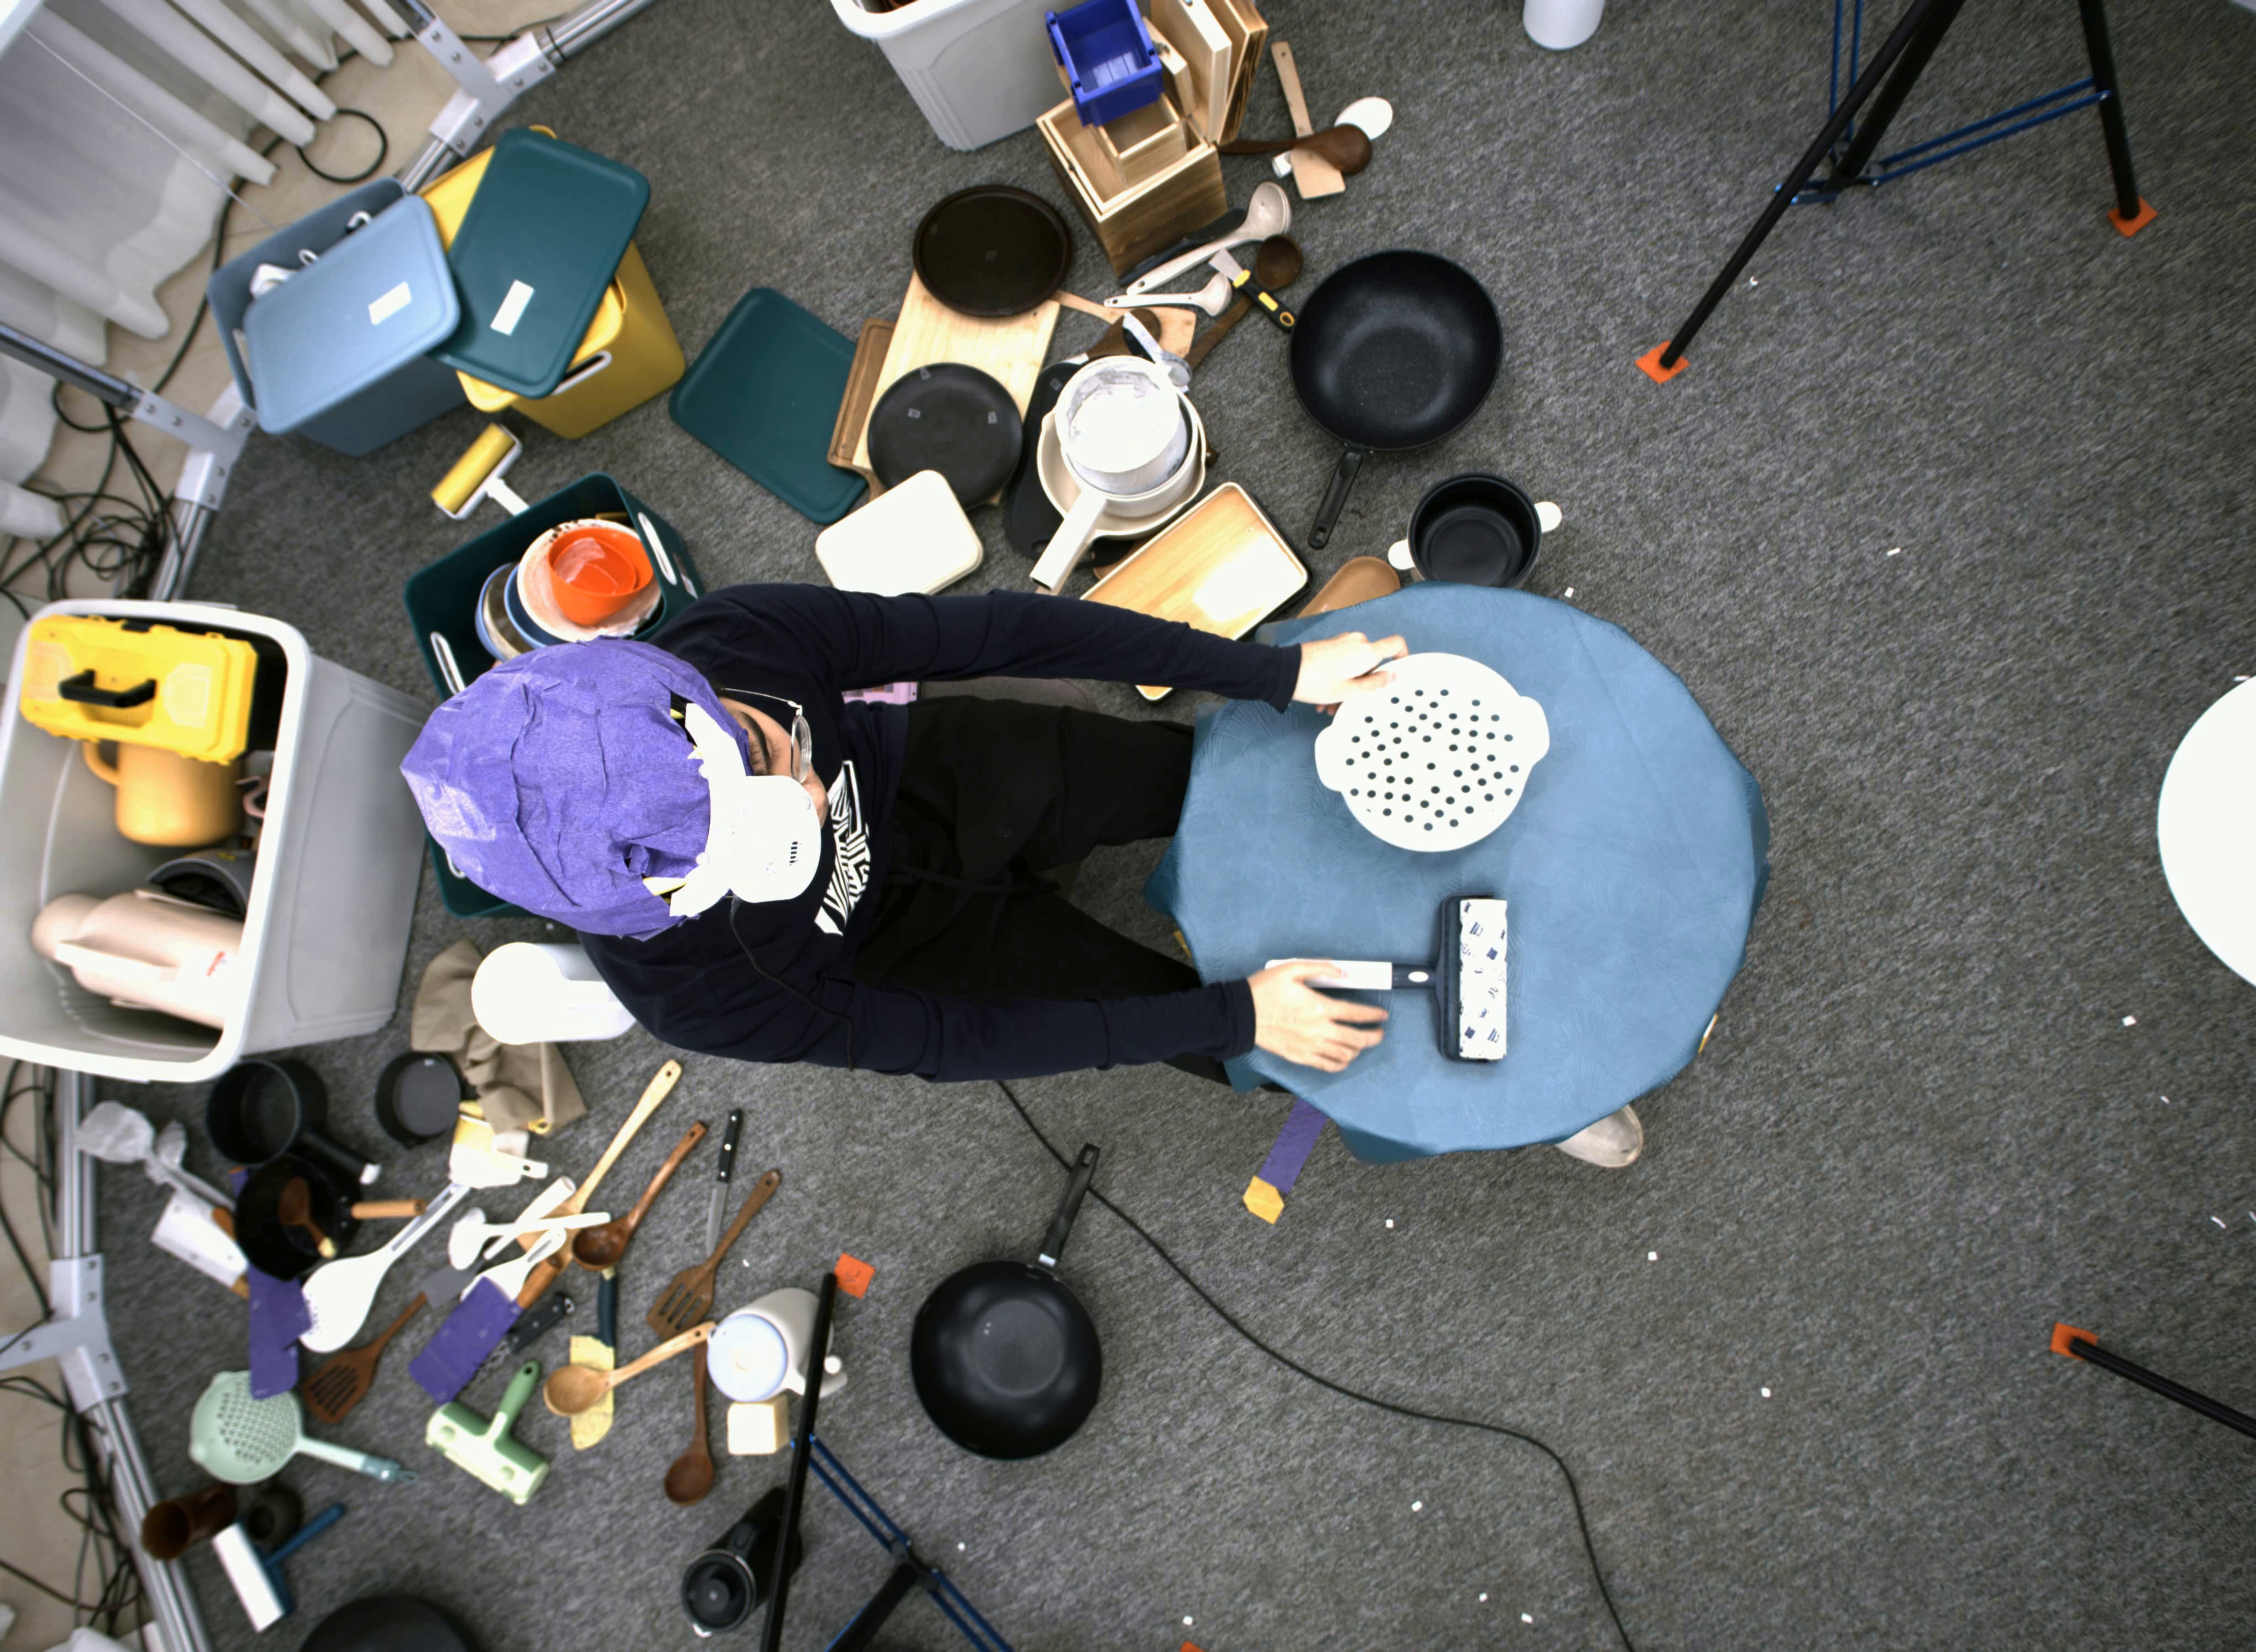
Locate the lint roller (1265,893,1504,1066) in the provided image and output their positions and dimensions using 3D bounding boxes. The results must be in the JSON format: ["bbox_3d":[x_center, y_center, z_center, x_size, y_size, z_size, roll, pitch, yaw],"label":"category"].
[{"bbox_3d":[0.264,0.156,1.437,0.248,0.050,0.175,-1,87,14],"label":"lint roller"}]

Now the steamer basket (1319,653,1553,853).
[{"bbox_3d":[0.313,-0.074,1.398,0.232,0.070,0.198,-9,71,14],"label":"steamer basket"}]
